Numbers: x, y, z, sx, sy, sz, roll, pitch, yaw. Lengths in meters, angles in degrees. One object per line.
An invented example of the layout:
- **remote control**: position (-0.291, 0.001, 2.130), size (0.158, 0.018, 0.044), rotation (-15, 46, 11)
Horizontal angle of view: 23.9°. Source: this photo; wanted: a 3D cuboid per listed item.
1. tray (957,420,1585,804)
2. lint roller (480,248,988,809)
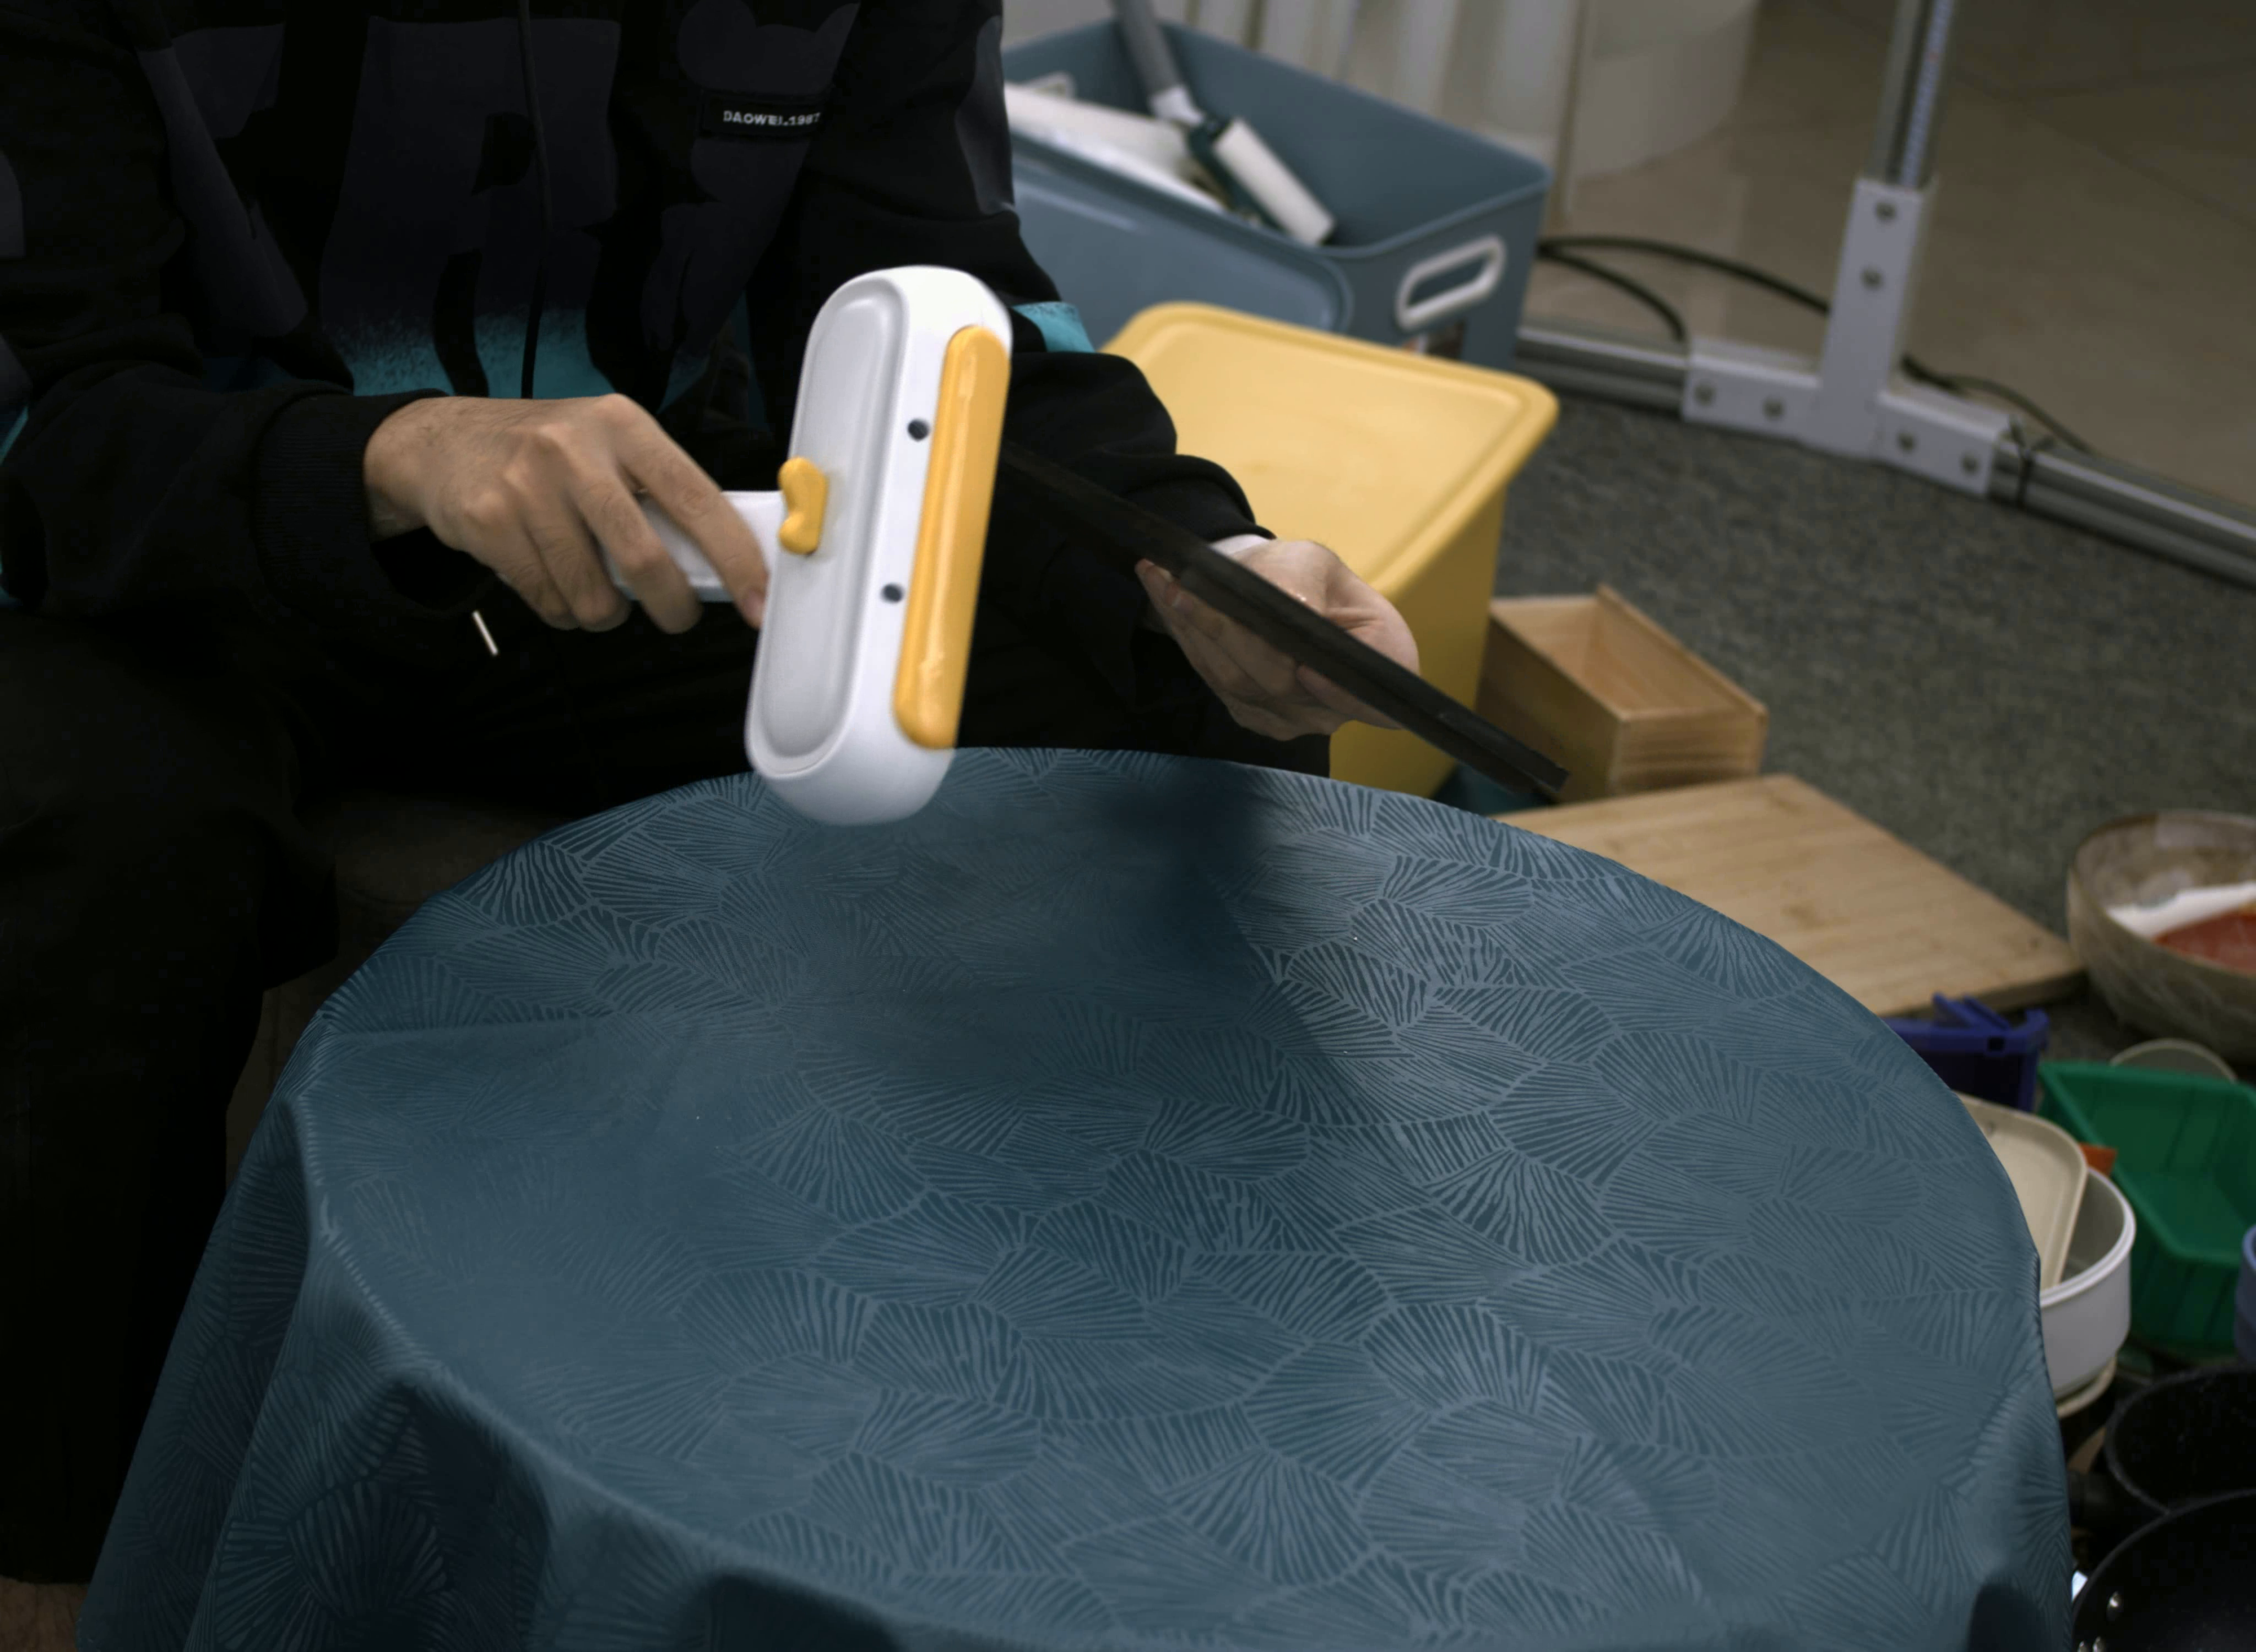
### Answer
- **tray**: position (0.033, -0.083, 1.909), size (0.168, 0.018, 0.308), rotation (31, 0, -27)
- **lint roller**: position (-0.136, -0.096, 1.820), size (0.193, 0.194, 0.073), rotation (-8, -17, 39)
